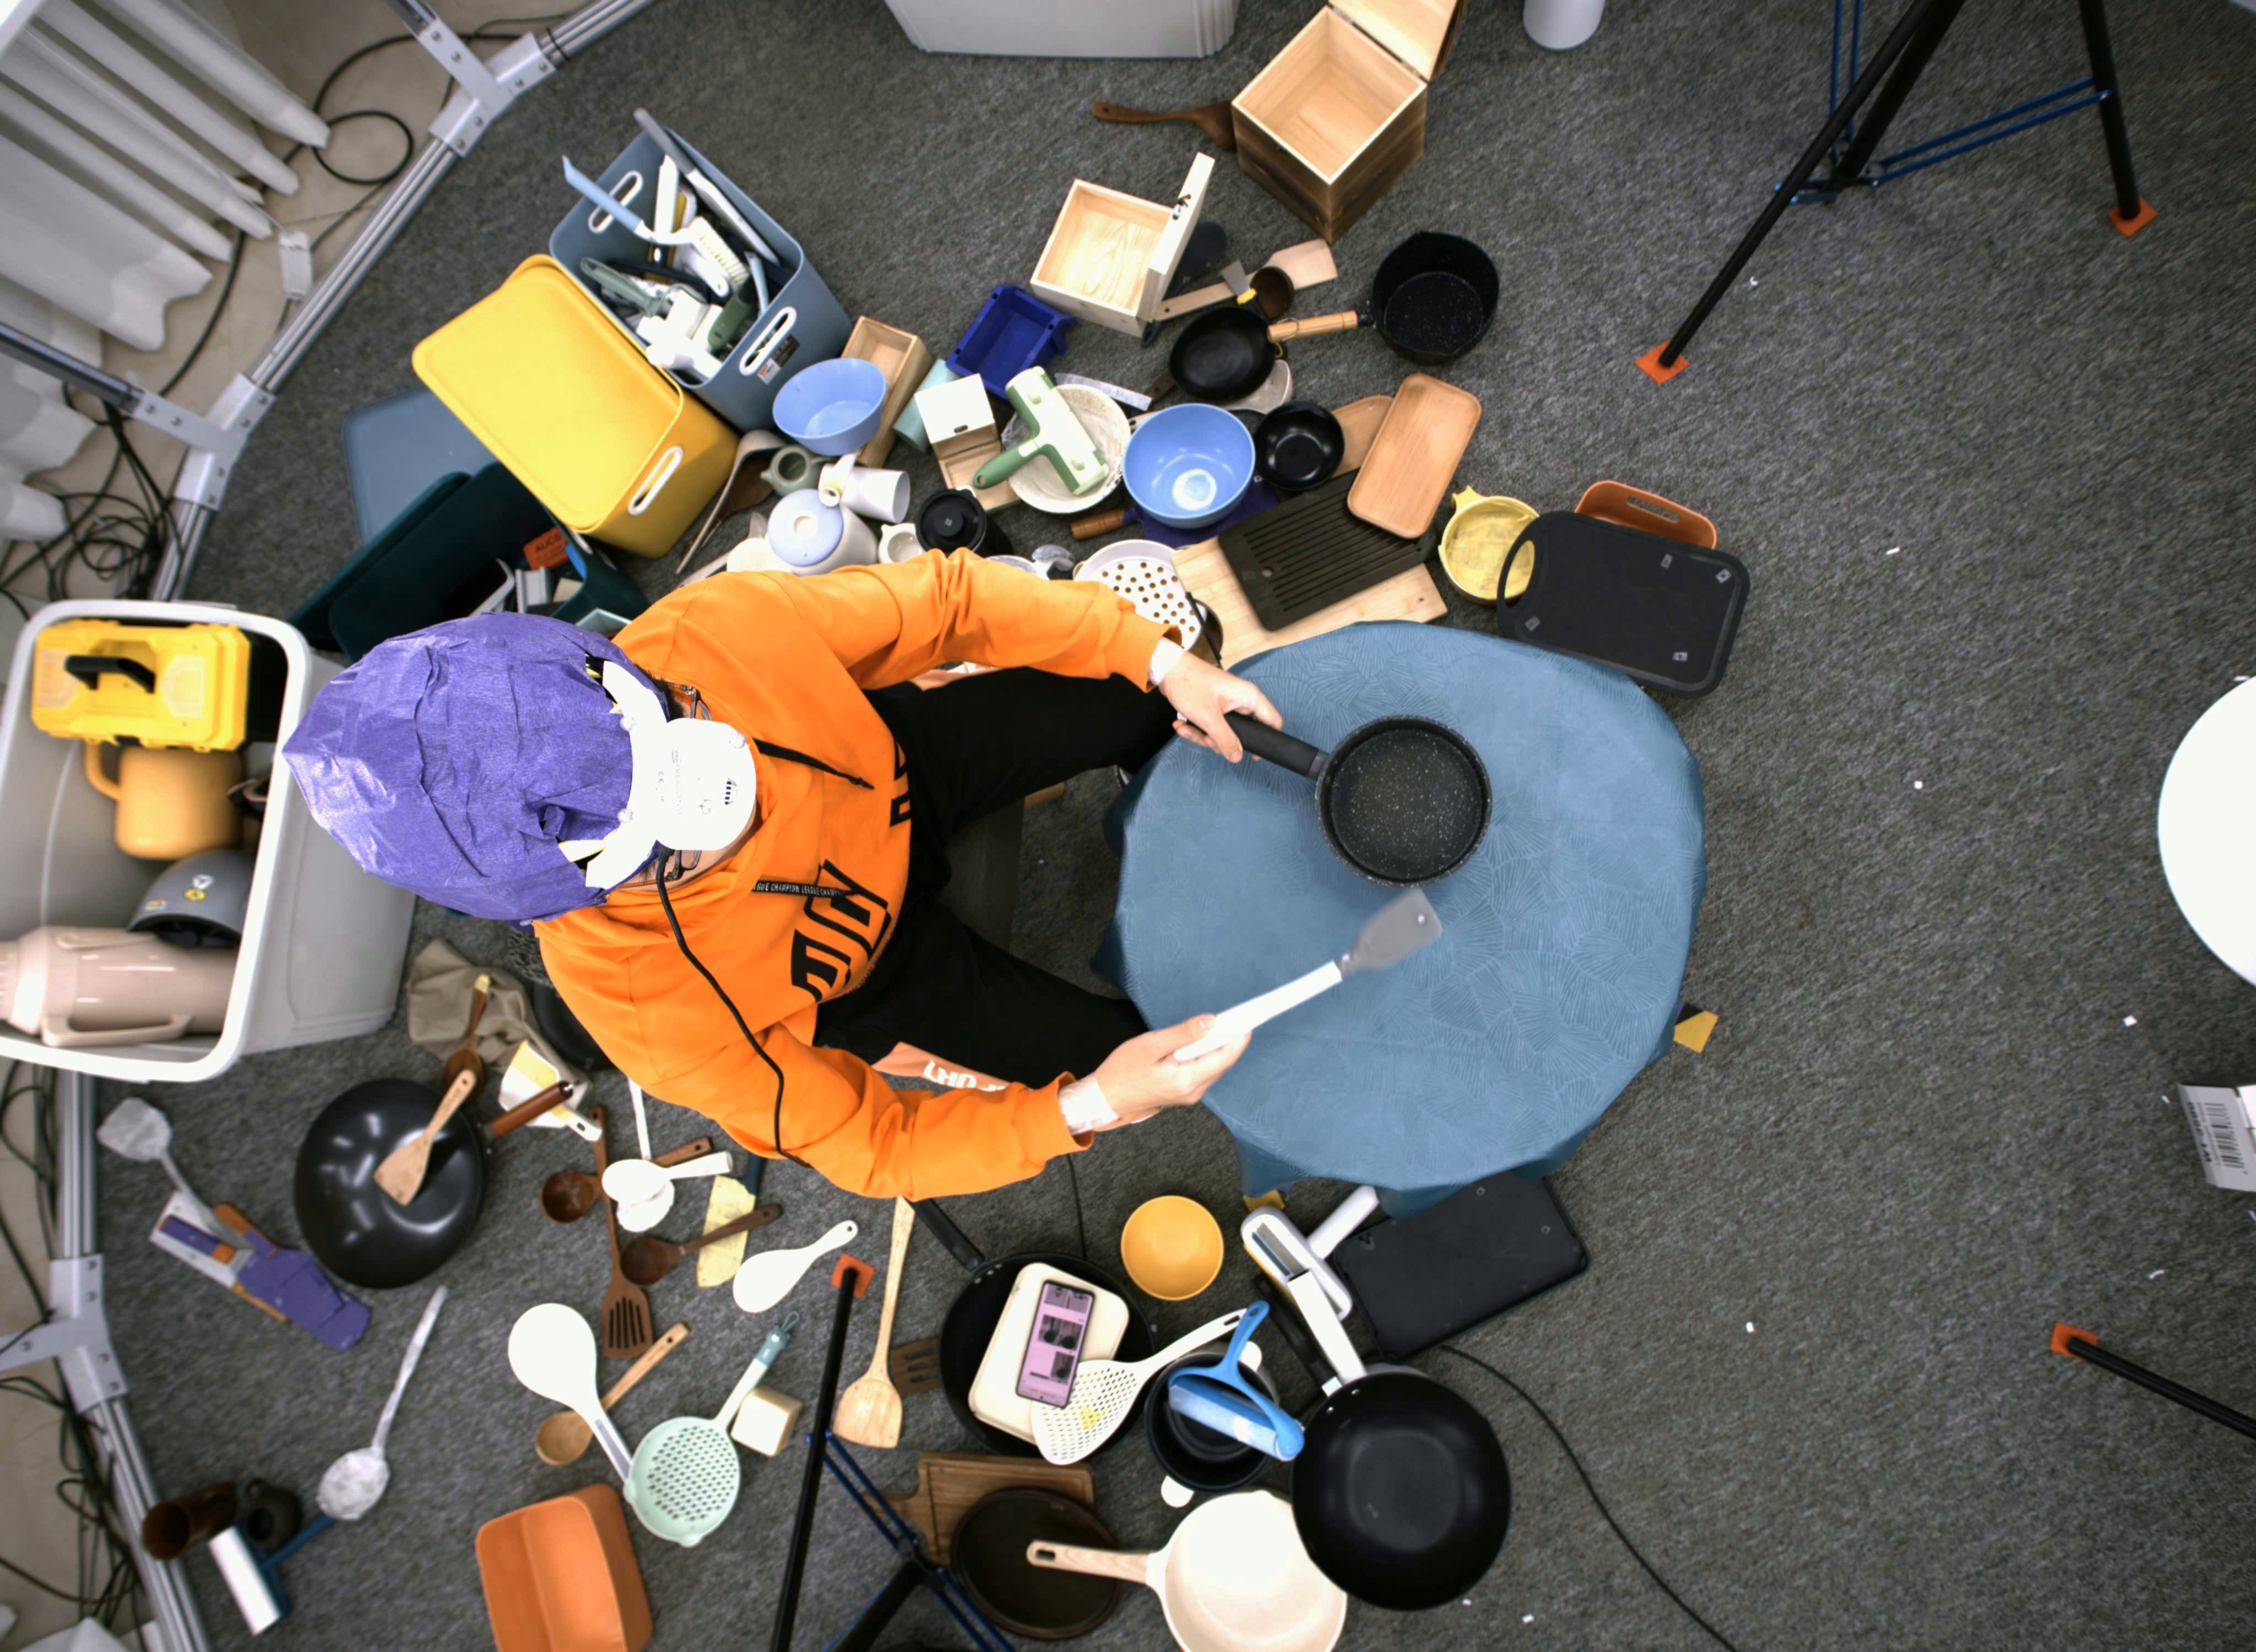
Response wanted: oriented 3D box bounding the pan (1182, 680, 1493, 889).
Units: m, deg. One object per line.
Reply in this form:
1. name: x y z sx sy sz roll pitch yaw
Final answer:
1. pan: 0.208 -0.059 1.398 0.328 0.086 0.173 27 96 10

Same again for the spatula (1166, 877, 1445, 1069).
1. spatula: 0.164 0.142 1.298 0.290 0.032 0.057 -32 60 12
